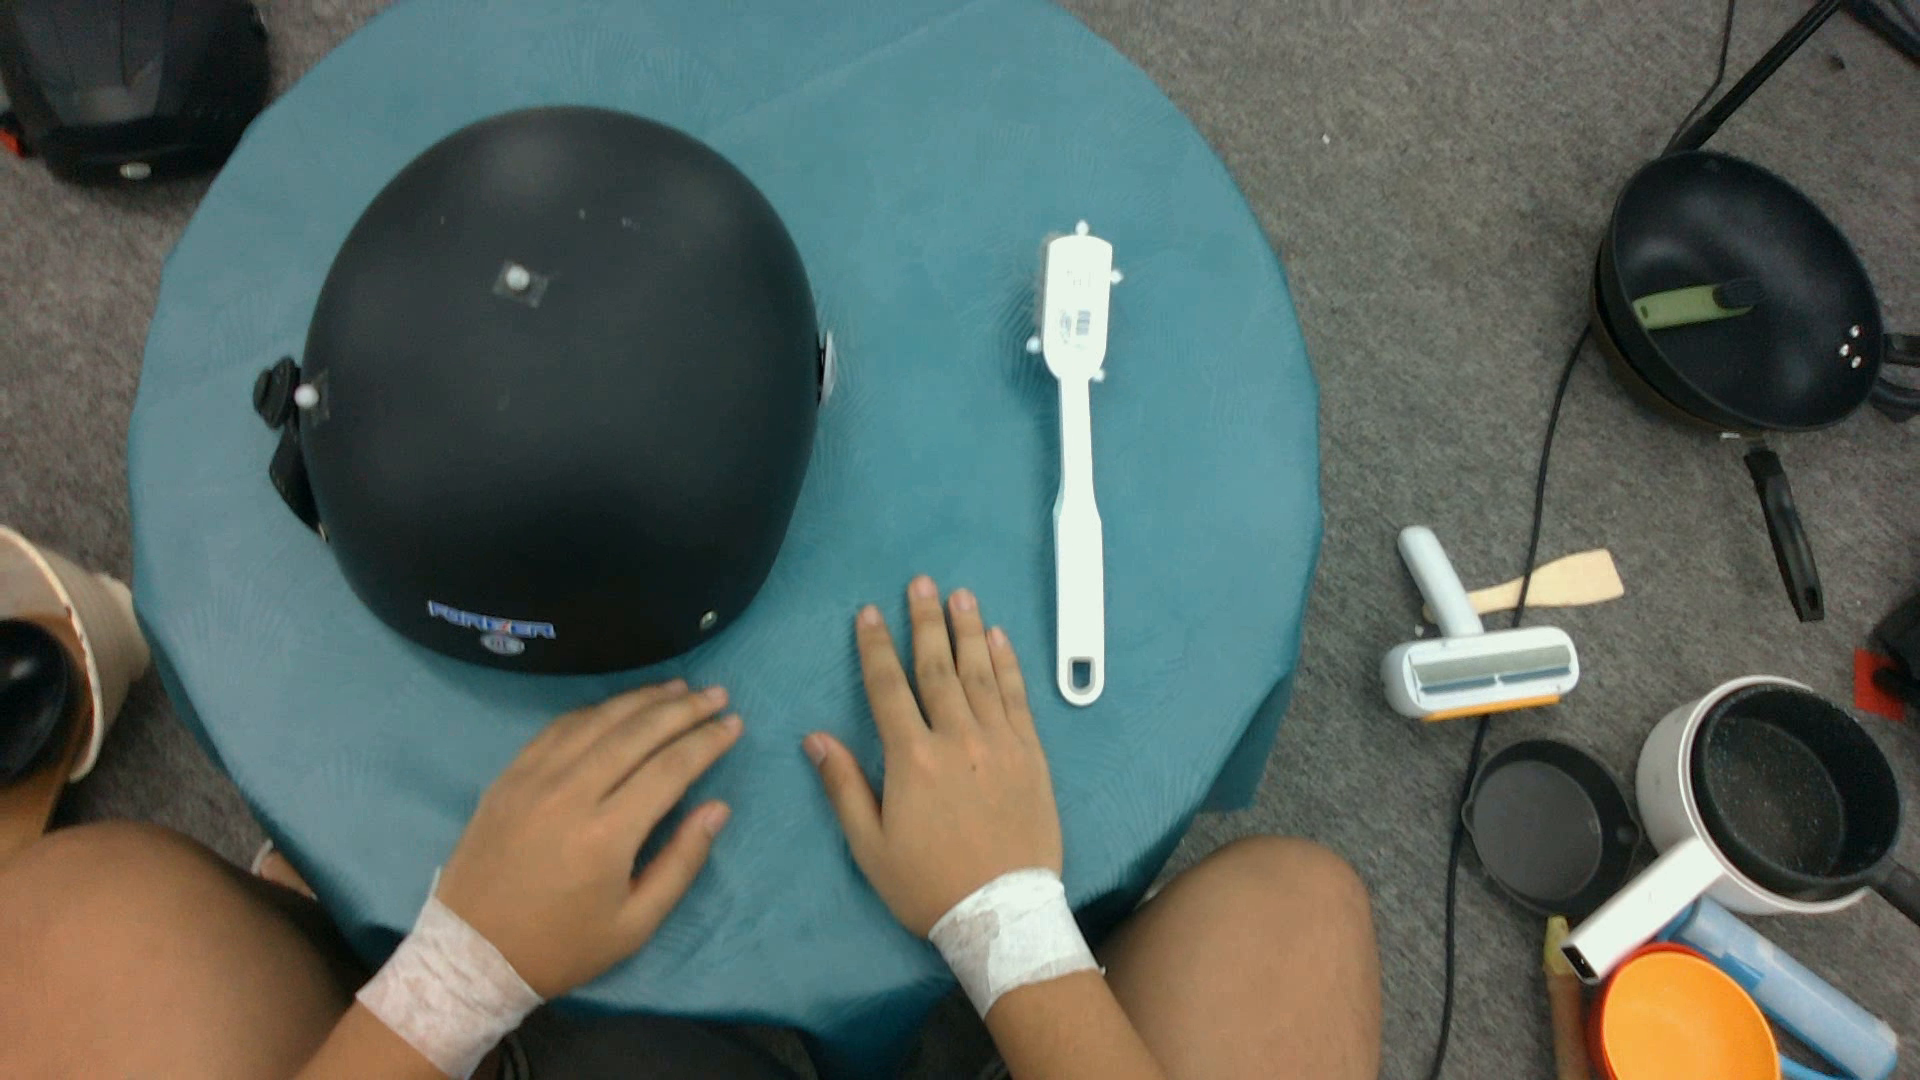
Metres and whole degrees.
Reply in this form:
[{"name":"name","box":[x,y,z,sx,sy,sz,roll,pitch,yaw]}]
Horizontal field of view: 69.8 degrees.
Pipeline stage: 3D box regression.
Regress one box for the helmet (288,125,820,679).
[{"name":"helmet","box":[-0.182,-0.081,0.620,0.230,0.166,0.274,15,66,-4]}]

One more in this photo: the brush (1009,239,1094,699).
[{"name":"brush","box":[0.048,-0.040,0.712,0.034,0.050,0.244,-1,83,-9]}]
